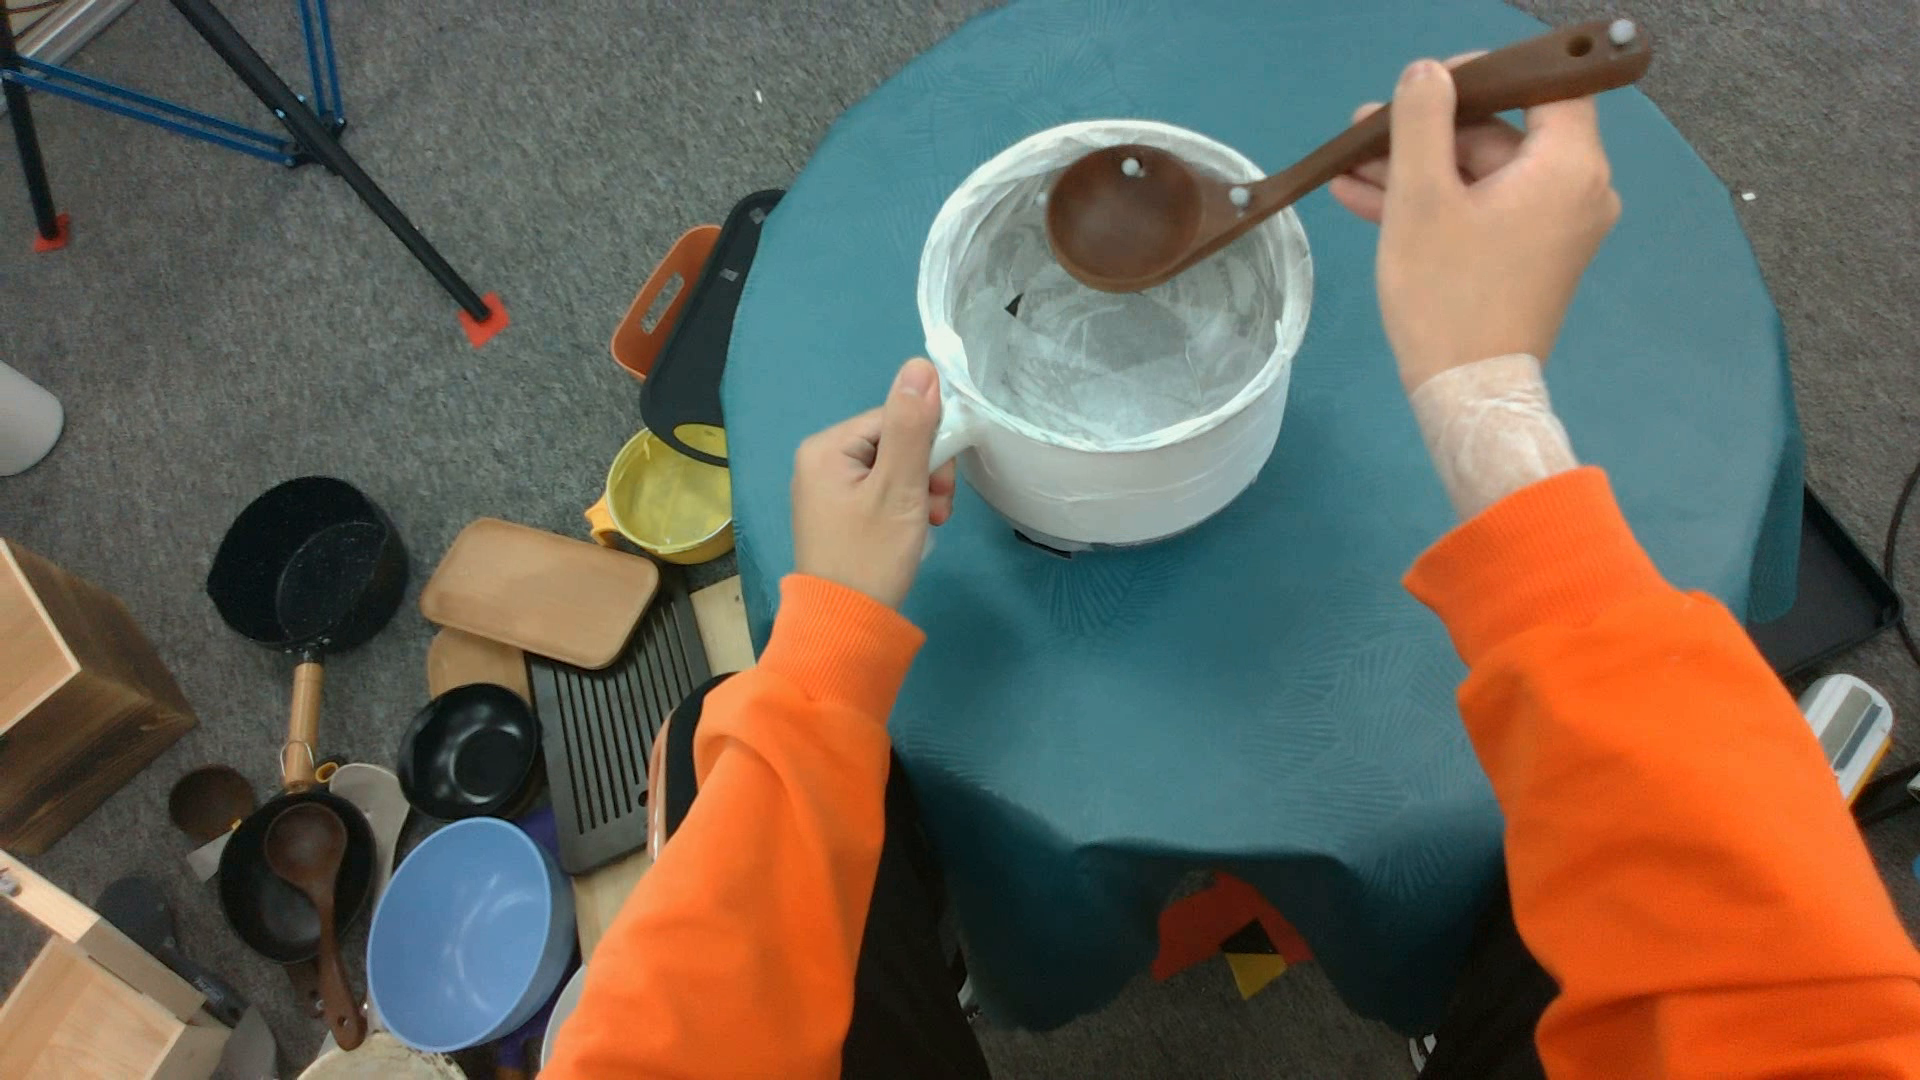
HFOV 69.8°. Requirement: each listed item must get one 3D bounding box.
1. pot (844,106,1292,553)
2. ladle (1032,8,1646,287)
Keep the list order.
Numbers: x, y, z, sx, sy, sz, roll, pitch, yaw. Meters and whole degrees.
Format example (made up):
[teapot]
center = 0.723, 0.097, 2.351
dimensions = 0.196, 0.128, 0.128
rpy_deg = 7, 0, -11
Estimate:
[pot]
center = 0.042, -0.085, 0.671
dimensions = 0.234, 0.136, 0.179
rpy_deg = -36, 68, -12
[ladle]
center = 0.137, -0.166, 0.565
dimensions = 0.259, 0.065, 0.077
rpy_deg = -13, 66, 47
